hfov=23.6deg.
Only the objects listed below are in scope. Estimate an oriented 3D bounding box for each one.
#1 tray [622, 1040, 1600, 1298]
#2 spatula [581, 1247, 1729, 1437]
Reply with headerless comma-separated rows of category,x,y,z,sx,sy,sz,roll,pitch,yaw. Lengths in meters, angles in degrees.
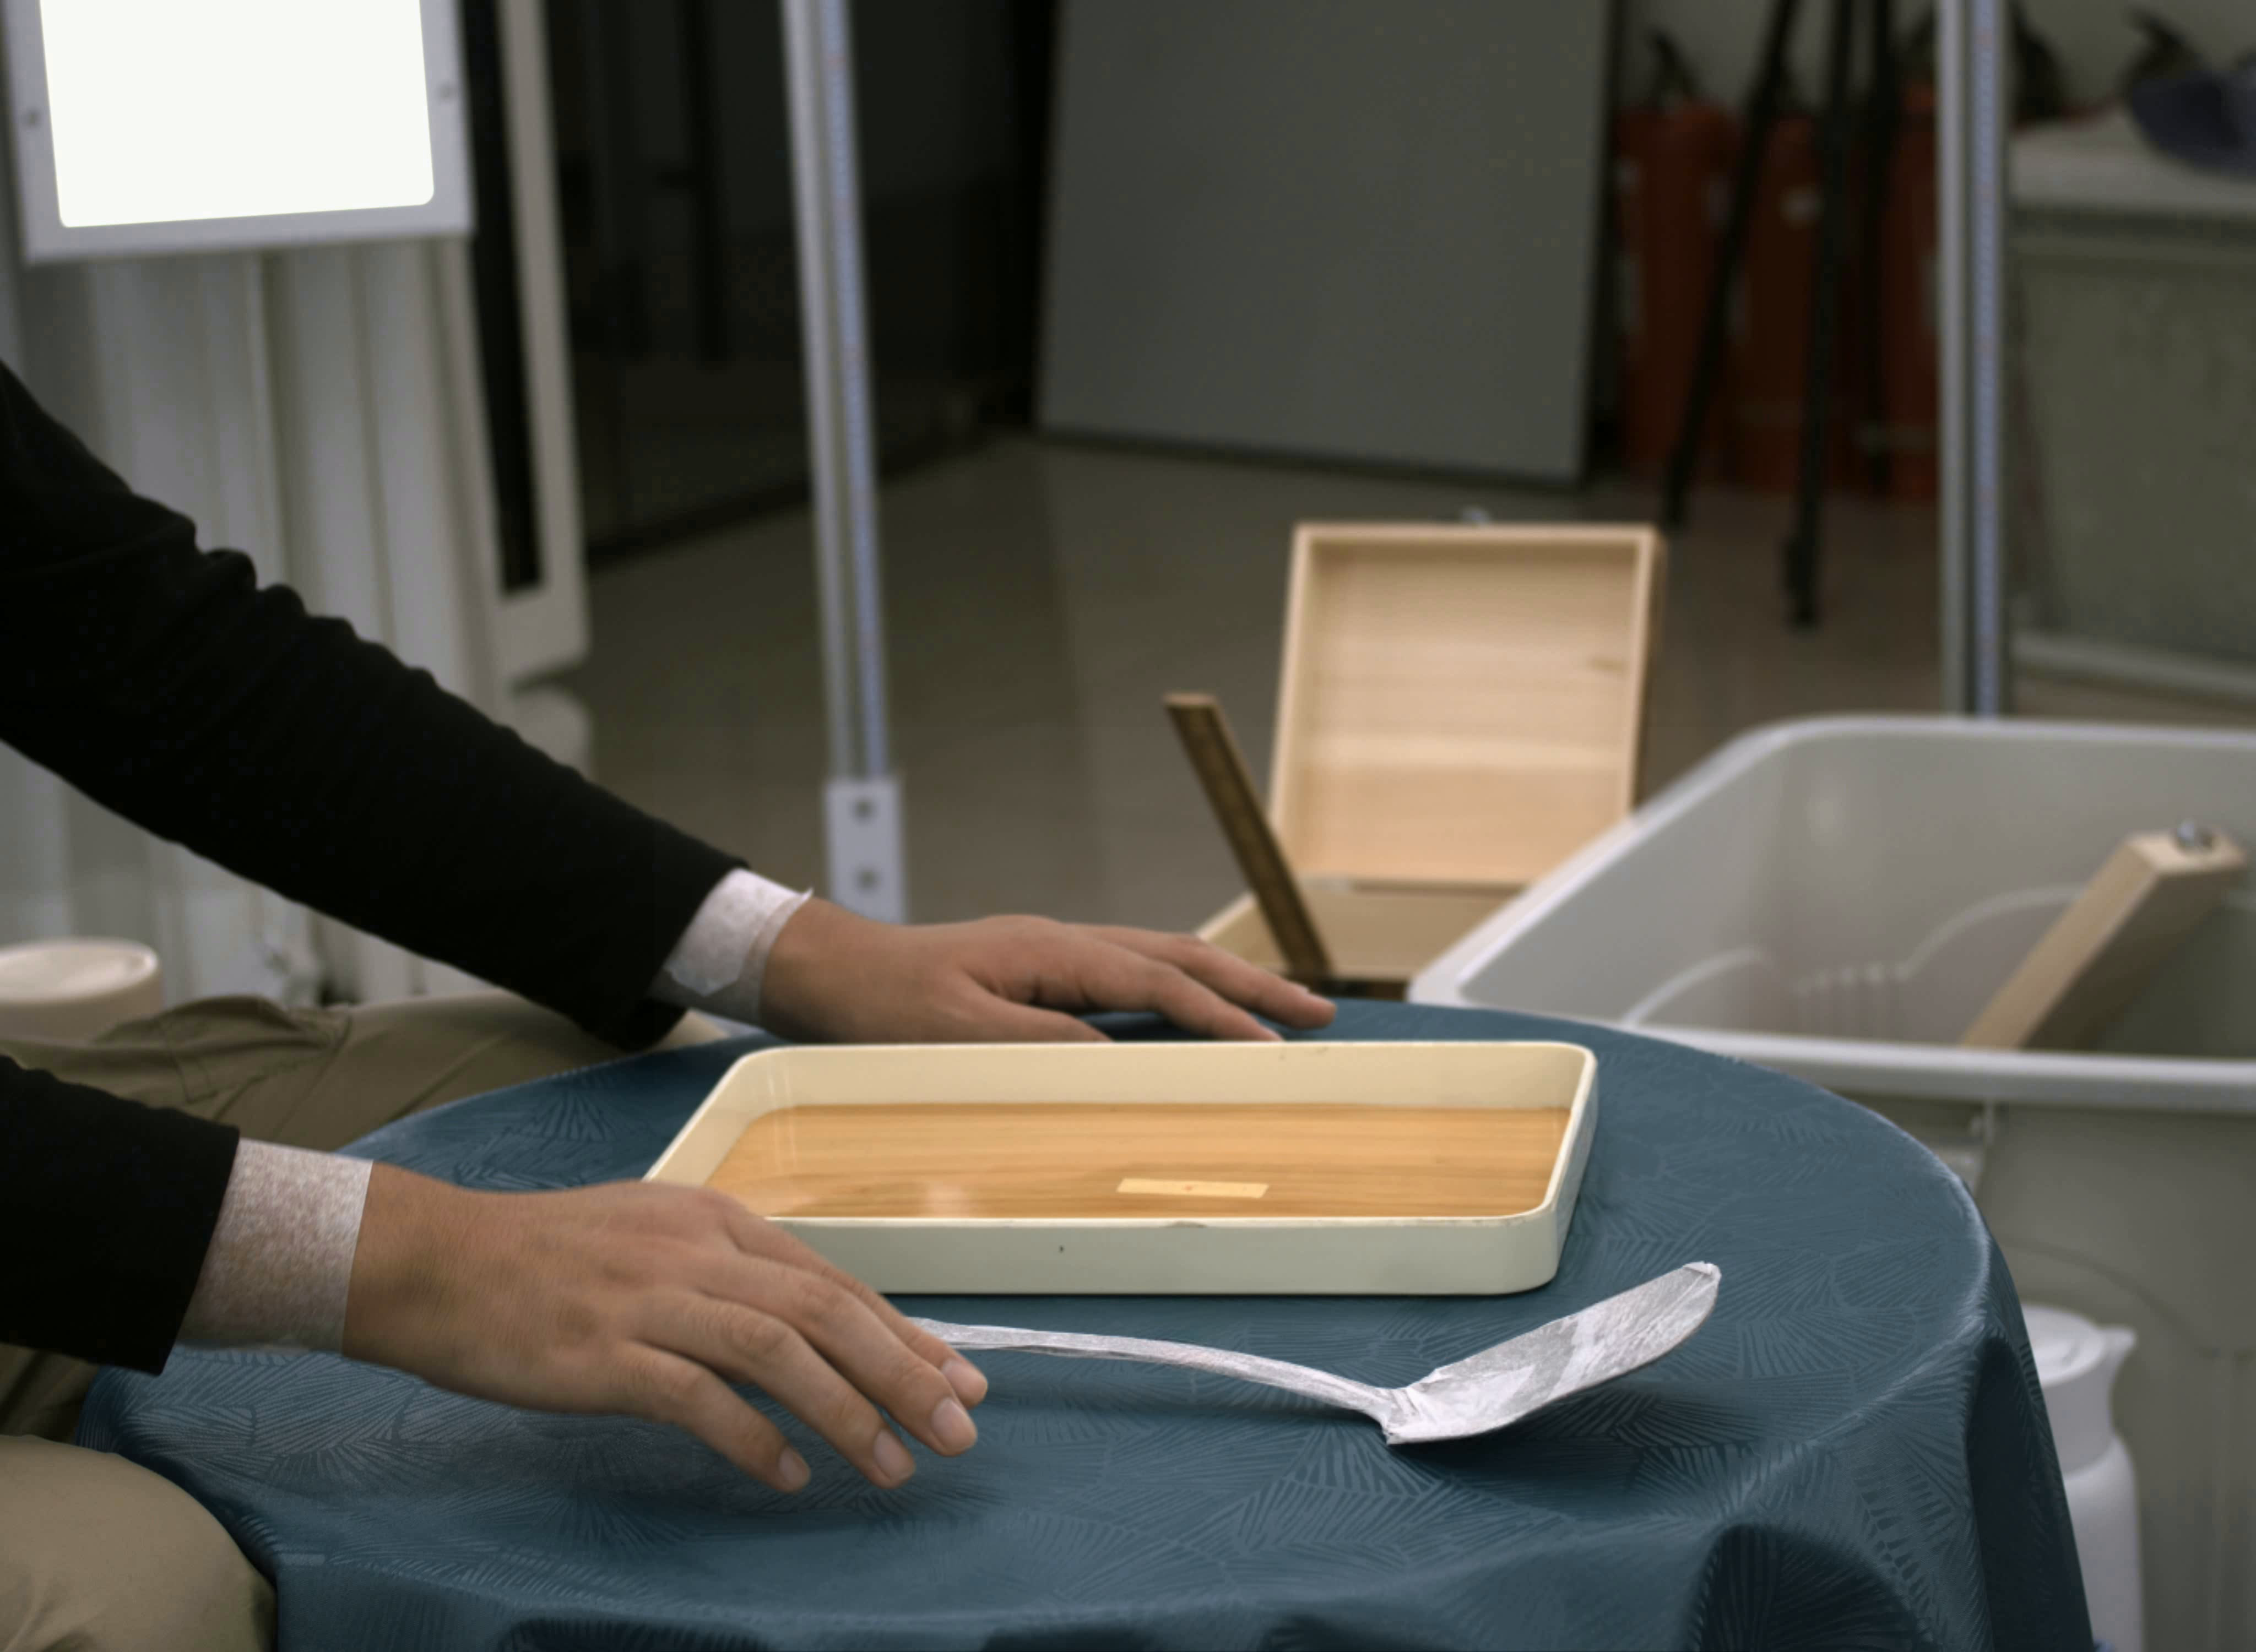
tray,-0.001,0.111,1.755,0.298,0.028,0.190,-1,14,12
spatula,-0.003,0.149,1.577,0.364,0.045,0.098,1,15,21
